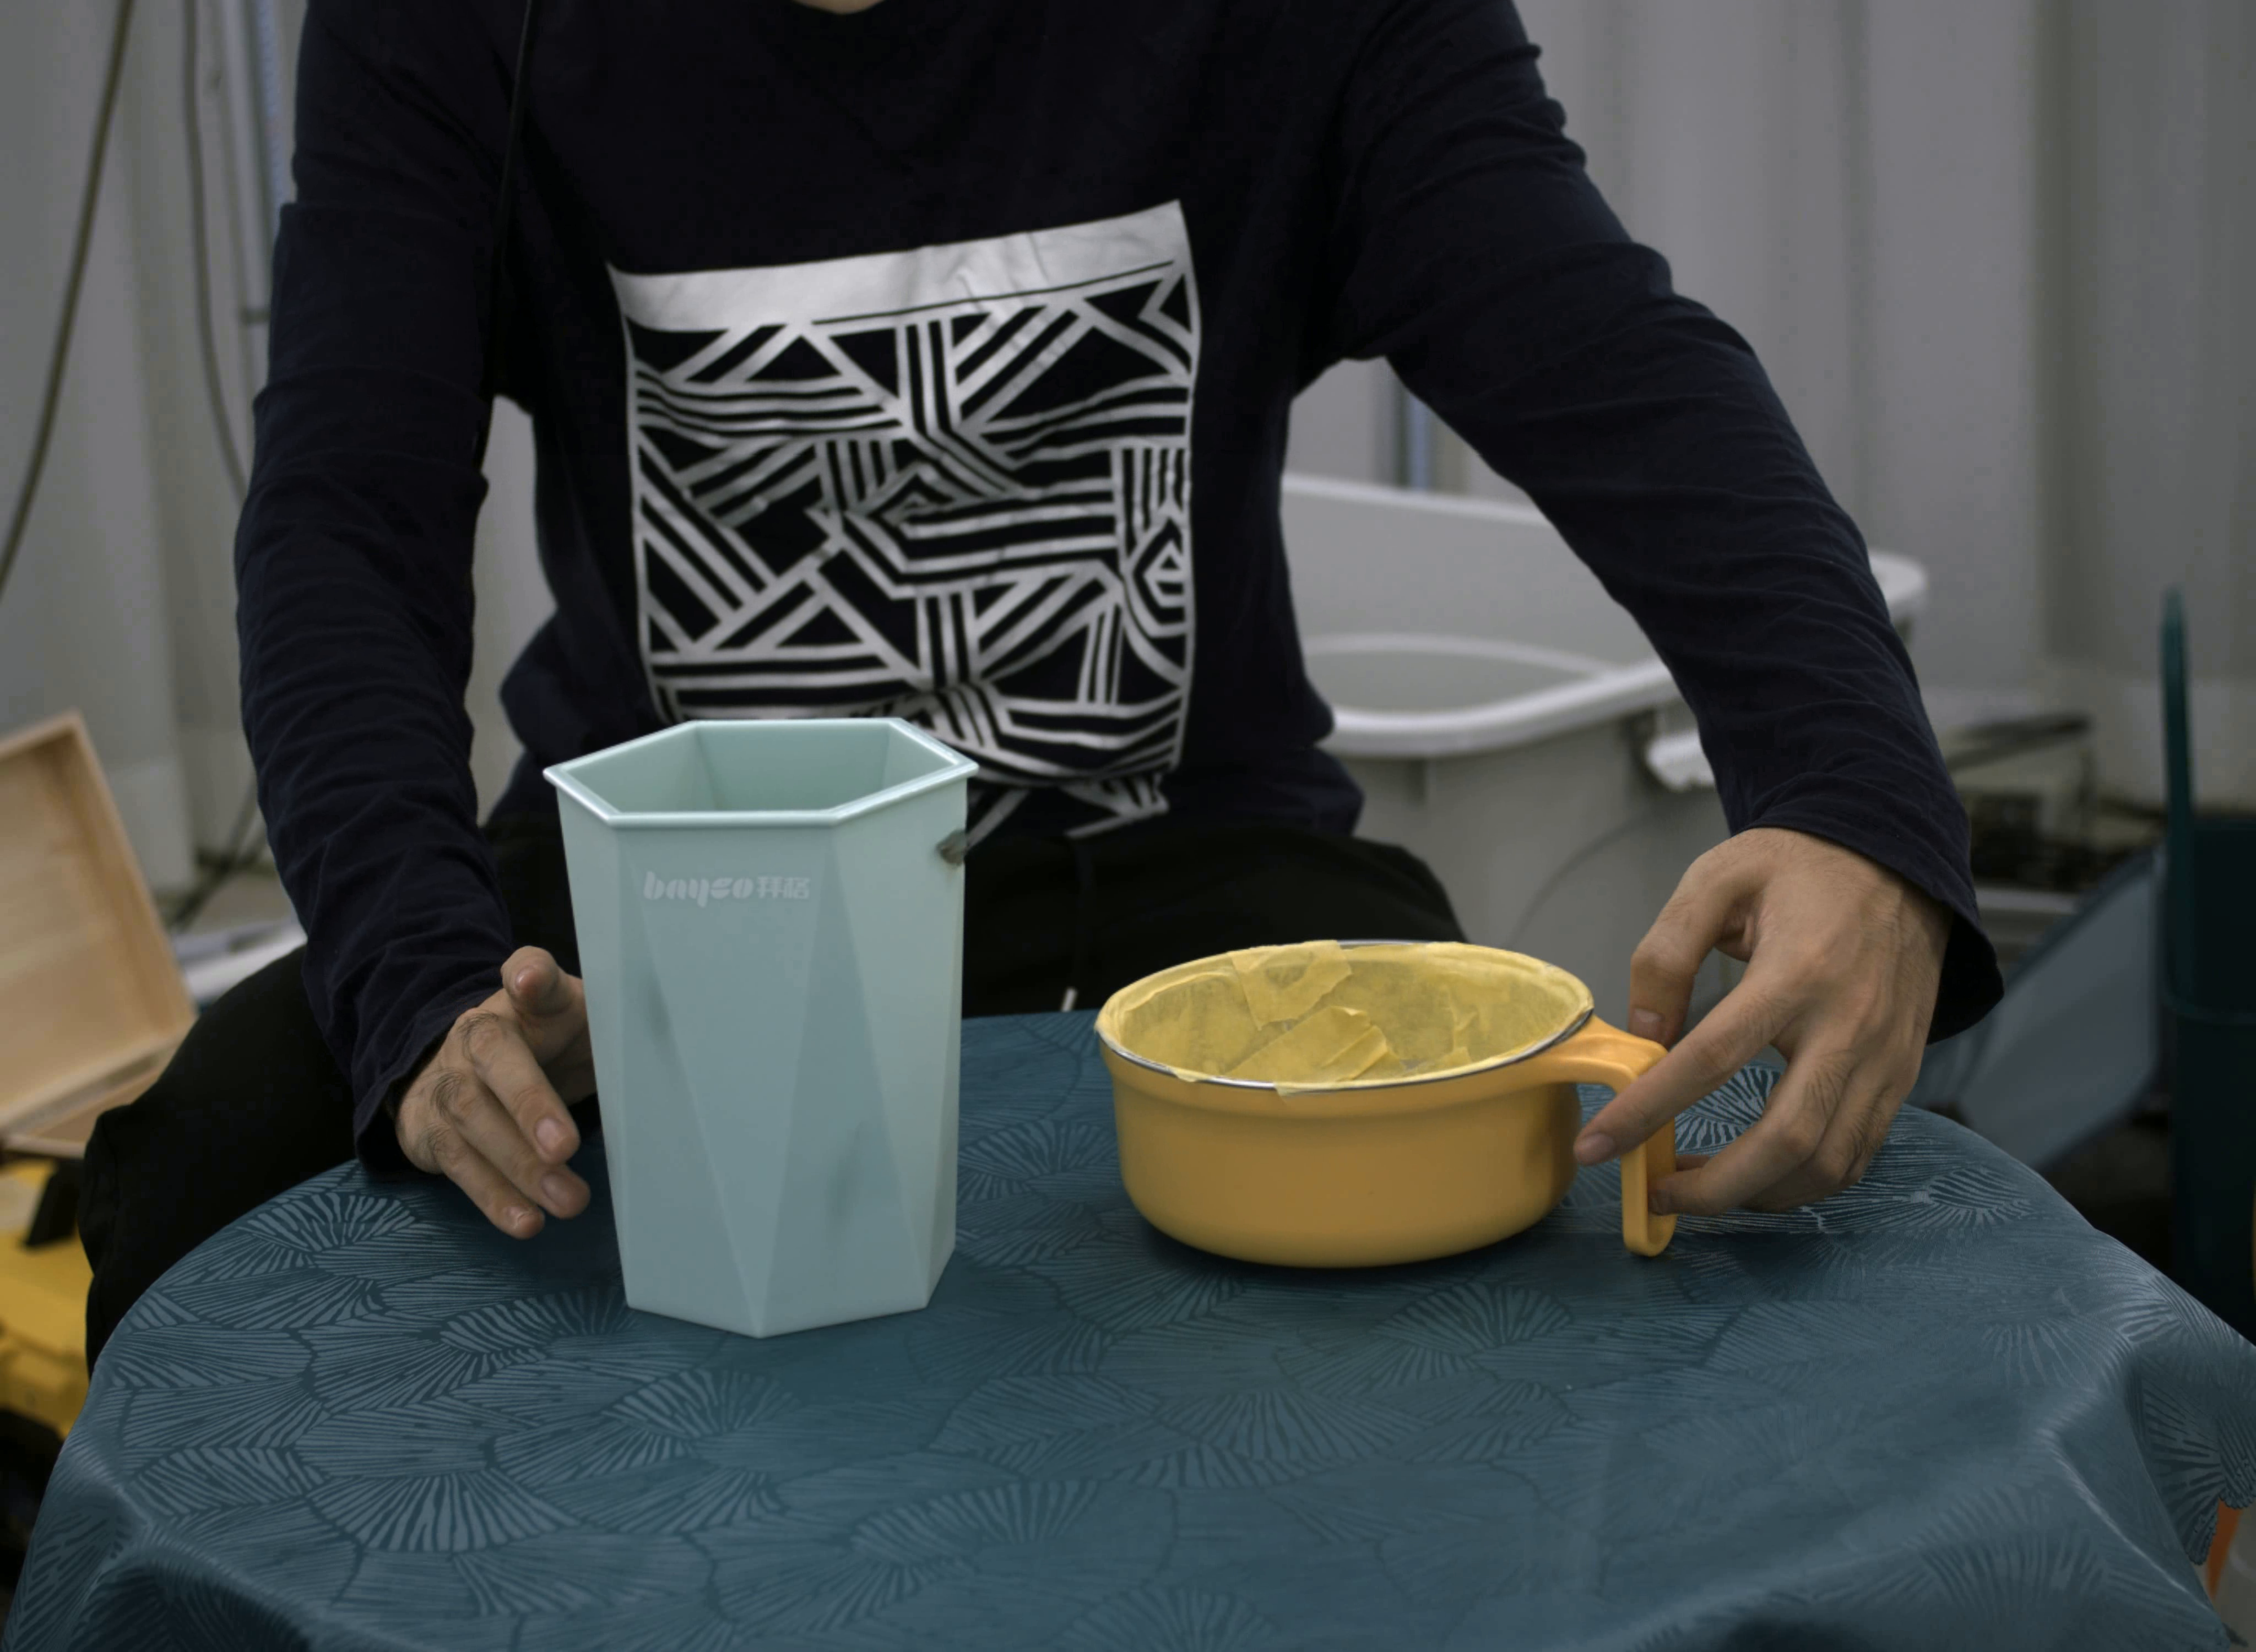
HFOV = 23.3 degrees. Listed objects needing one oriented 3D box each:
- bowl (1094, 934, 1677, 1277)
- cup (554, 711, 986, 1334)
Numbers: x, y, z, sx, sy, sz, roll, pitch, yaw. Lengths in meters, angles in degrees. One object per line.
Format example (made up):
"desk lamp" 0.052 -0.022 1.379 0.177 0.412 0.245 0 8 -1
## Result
"bowl" 0.079 0.089 1.669 0.179 0.074 0.153 3 14 25
"cup" -0.103 0.058 1.631 0.131 0.162 0.116 0 13 7
